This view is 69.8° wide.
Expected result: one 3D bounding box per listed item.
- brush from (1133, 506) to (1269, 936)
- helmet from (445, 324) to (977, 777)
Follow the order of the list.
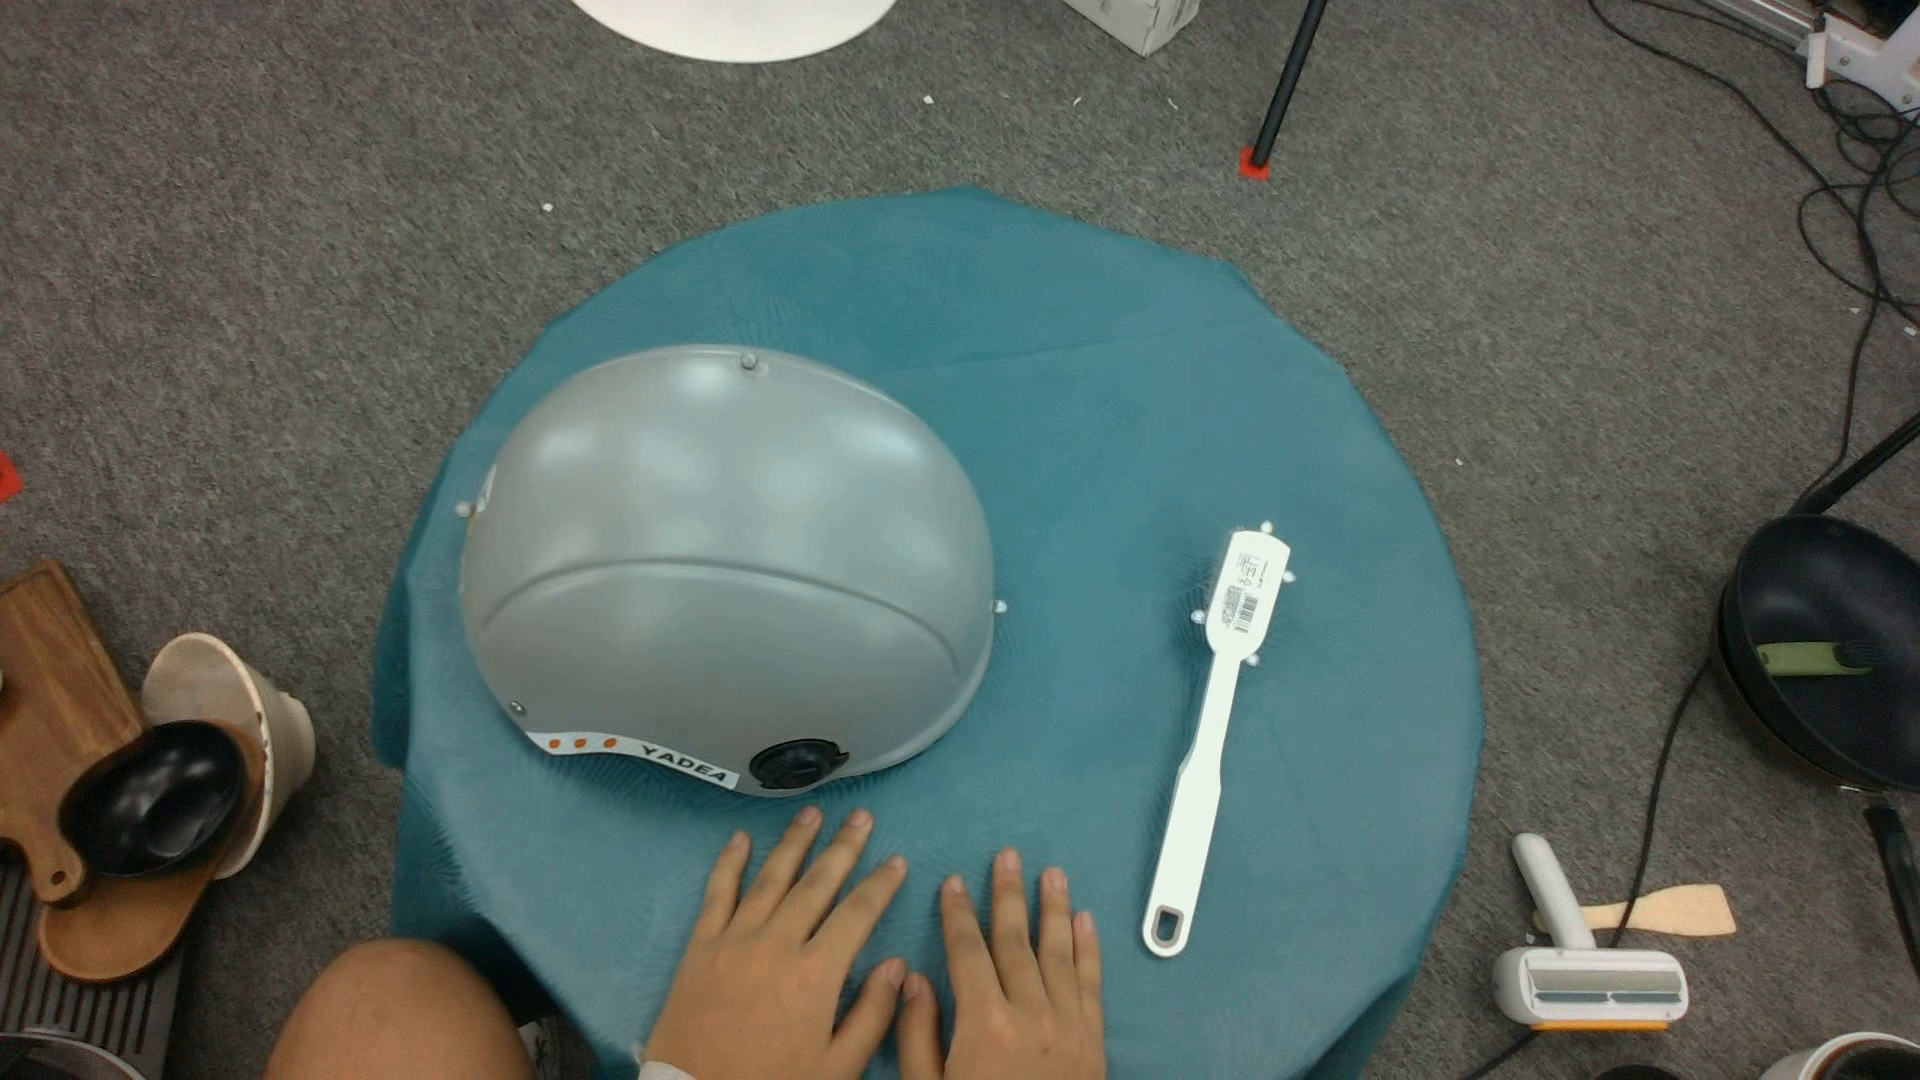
[{"bbox_3d":[0.127,0.092,0.745,0.034,0.050,0.244,15,72,2],"label":"brush"},{"bbox_3d":[-0.112,-0.013,0.679,0.276,0.168,0.233,5,60,-10],"label":"helmet"}]
